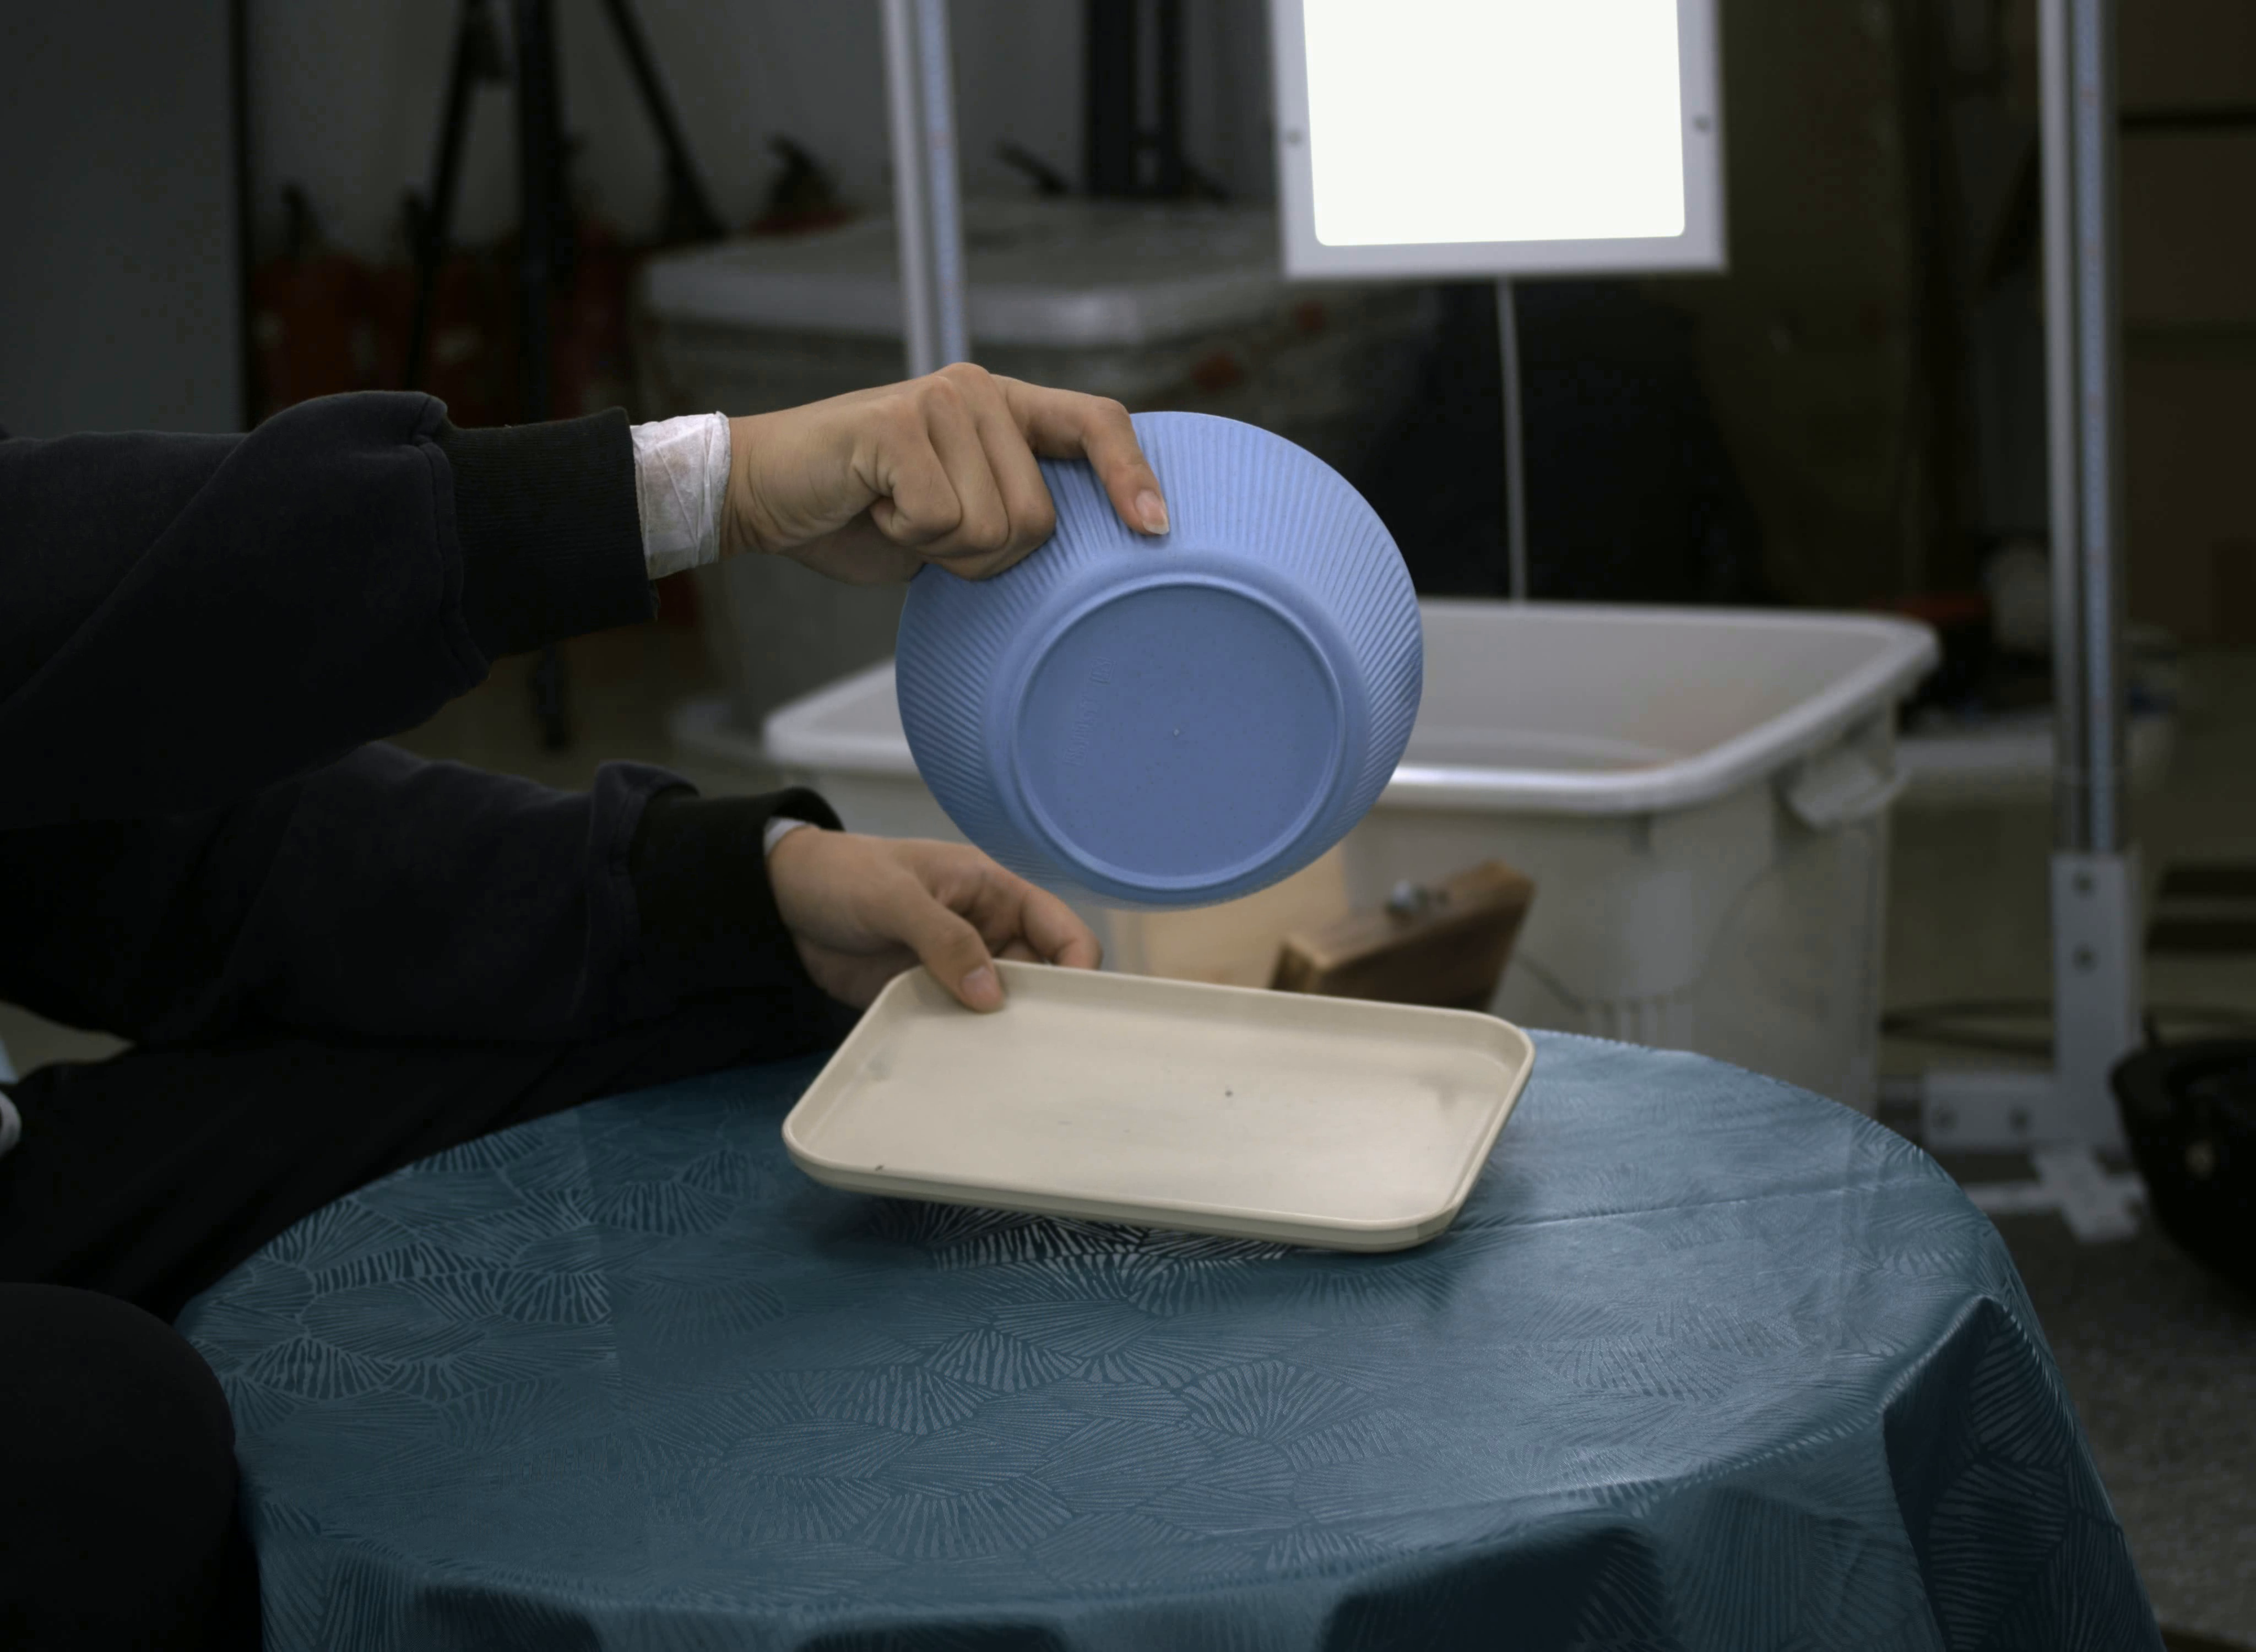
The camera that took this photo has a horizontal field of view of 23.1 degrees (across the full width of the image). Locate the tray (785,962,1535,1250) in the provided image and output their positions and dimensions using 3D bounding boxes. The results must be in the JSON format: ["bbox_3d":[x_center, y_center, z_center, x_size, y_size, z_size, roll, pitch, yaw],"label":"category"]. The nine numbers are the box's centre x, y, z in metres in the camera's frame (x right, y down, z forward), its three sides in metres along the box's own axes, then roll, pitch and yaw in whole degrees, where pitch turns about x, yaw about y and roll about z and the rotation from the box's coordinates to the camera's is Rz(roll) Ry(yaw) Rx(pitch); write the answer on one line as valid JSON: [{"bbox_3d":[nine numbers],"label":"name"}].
[{"bbox_3d":[0.013,0.096,1.900,0.242,0.017,0.168,5,24,17],"label":"tray"}]

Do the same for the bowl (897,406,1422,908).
[{"bbox_3d":[0.014,-0.043,1.788,0.175,0.177,0.070,-4,22,-2],"label":"bowl"}]
